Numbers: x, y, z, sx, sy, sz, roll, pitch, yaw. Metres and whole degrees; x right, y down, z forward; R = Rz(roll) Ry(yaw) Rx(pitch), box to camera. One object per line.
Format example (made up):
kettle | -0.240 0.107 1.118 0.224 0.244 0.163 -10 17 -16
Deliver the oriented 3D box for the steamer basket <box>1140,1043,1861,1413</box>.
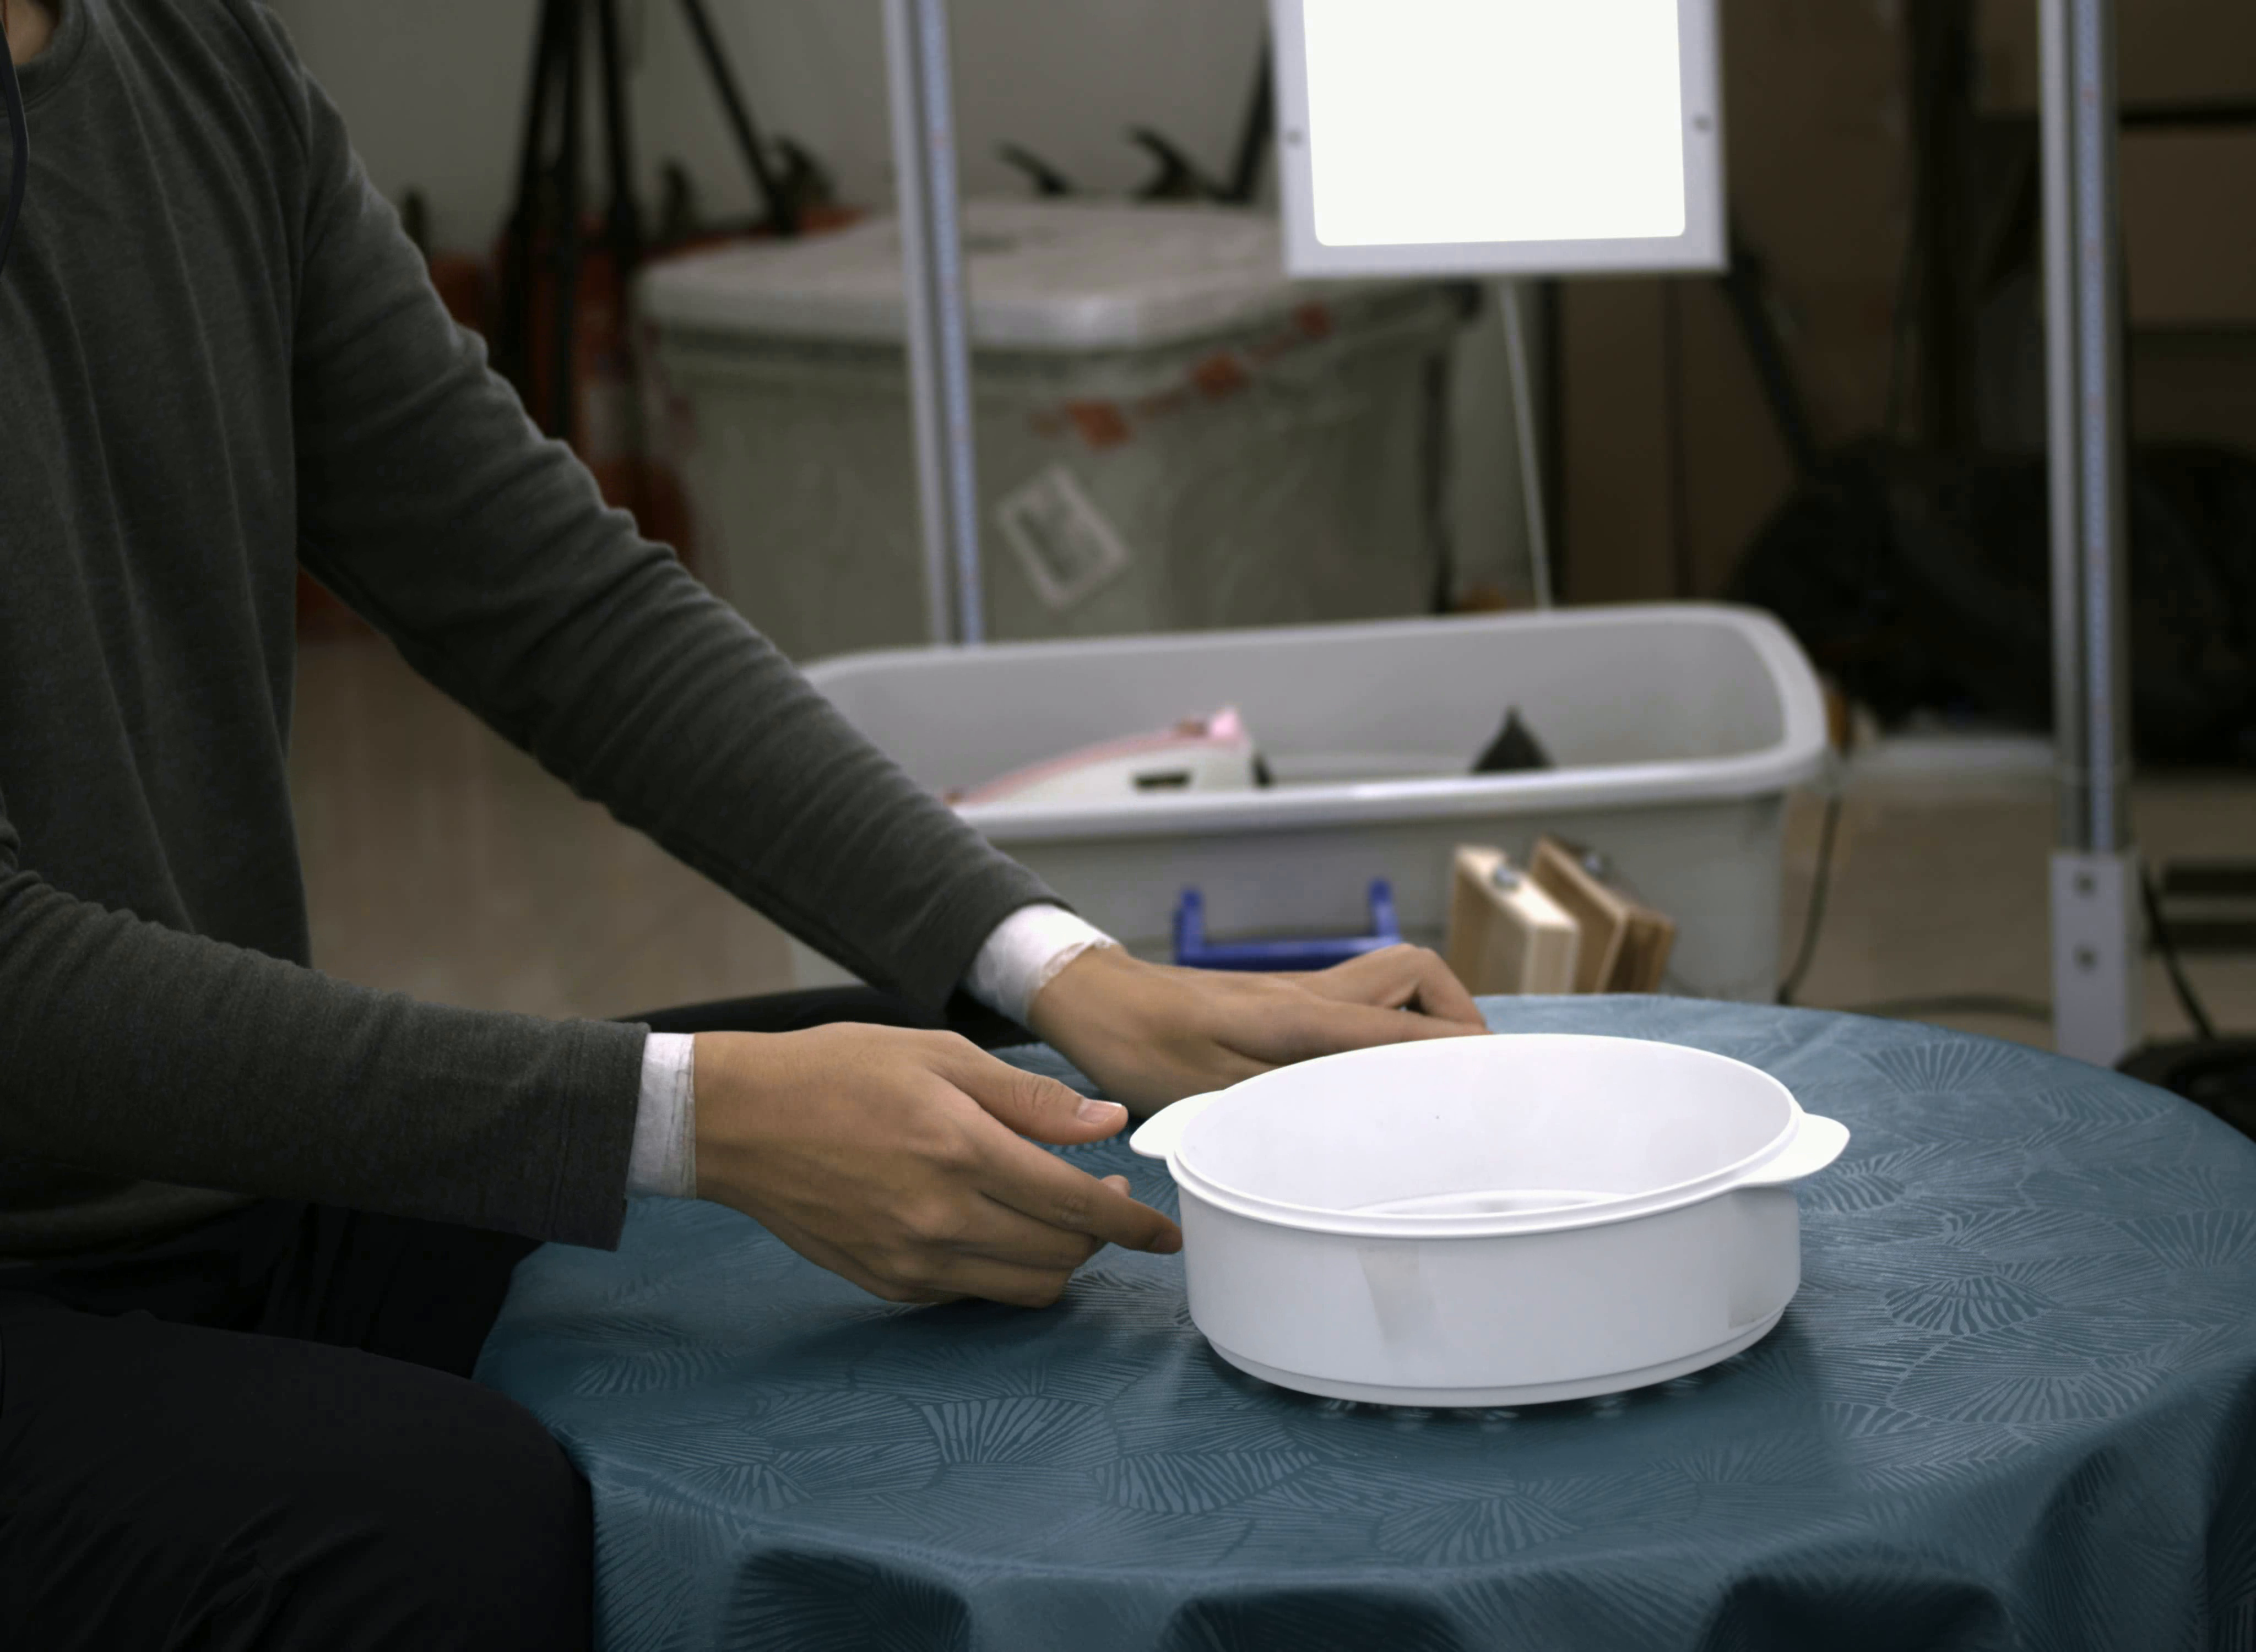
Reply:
steamer basket | 0.118 0.125 1.726 0.234 0.069 0.198 -1 13 24

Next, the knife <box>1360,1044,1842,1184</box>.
knife | 0.161 0.103 1.899 0.016 0.024 0.243 25 -9 -38
